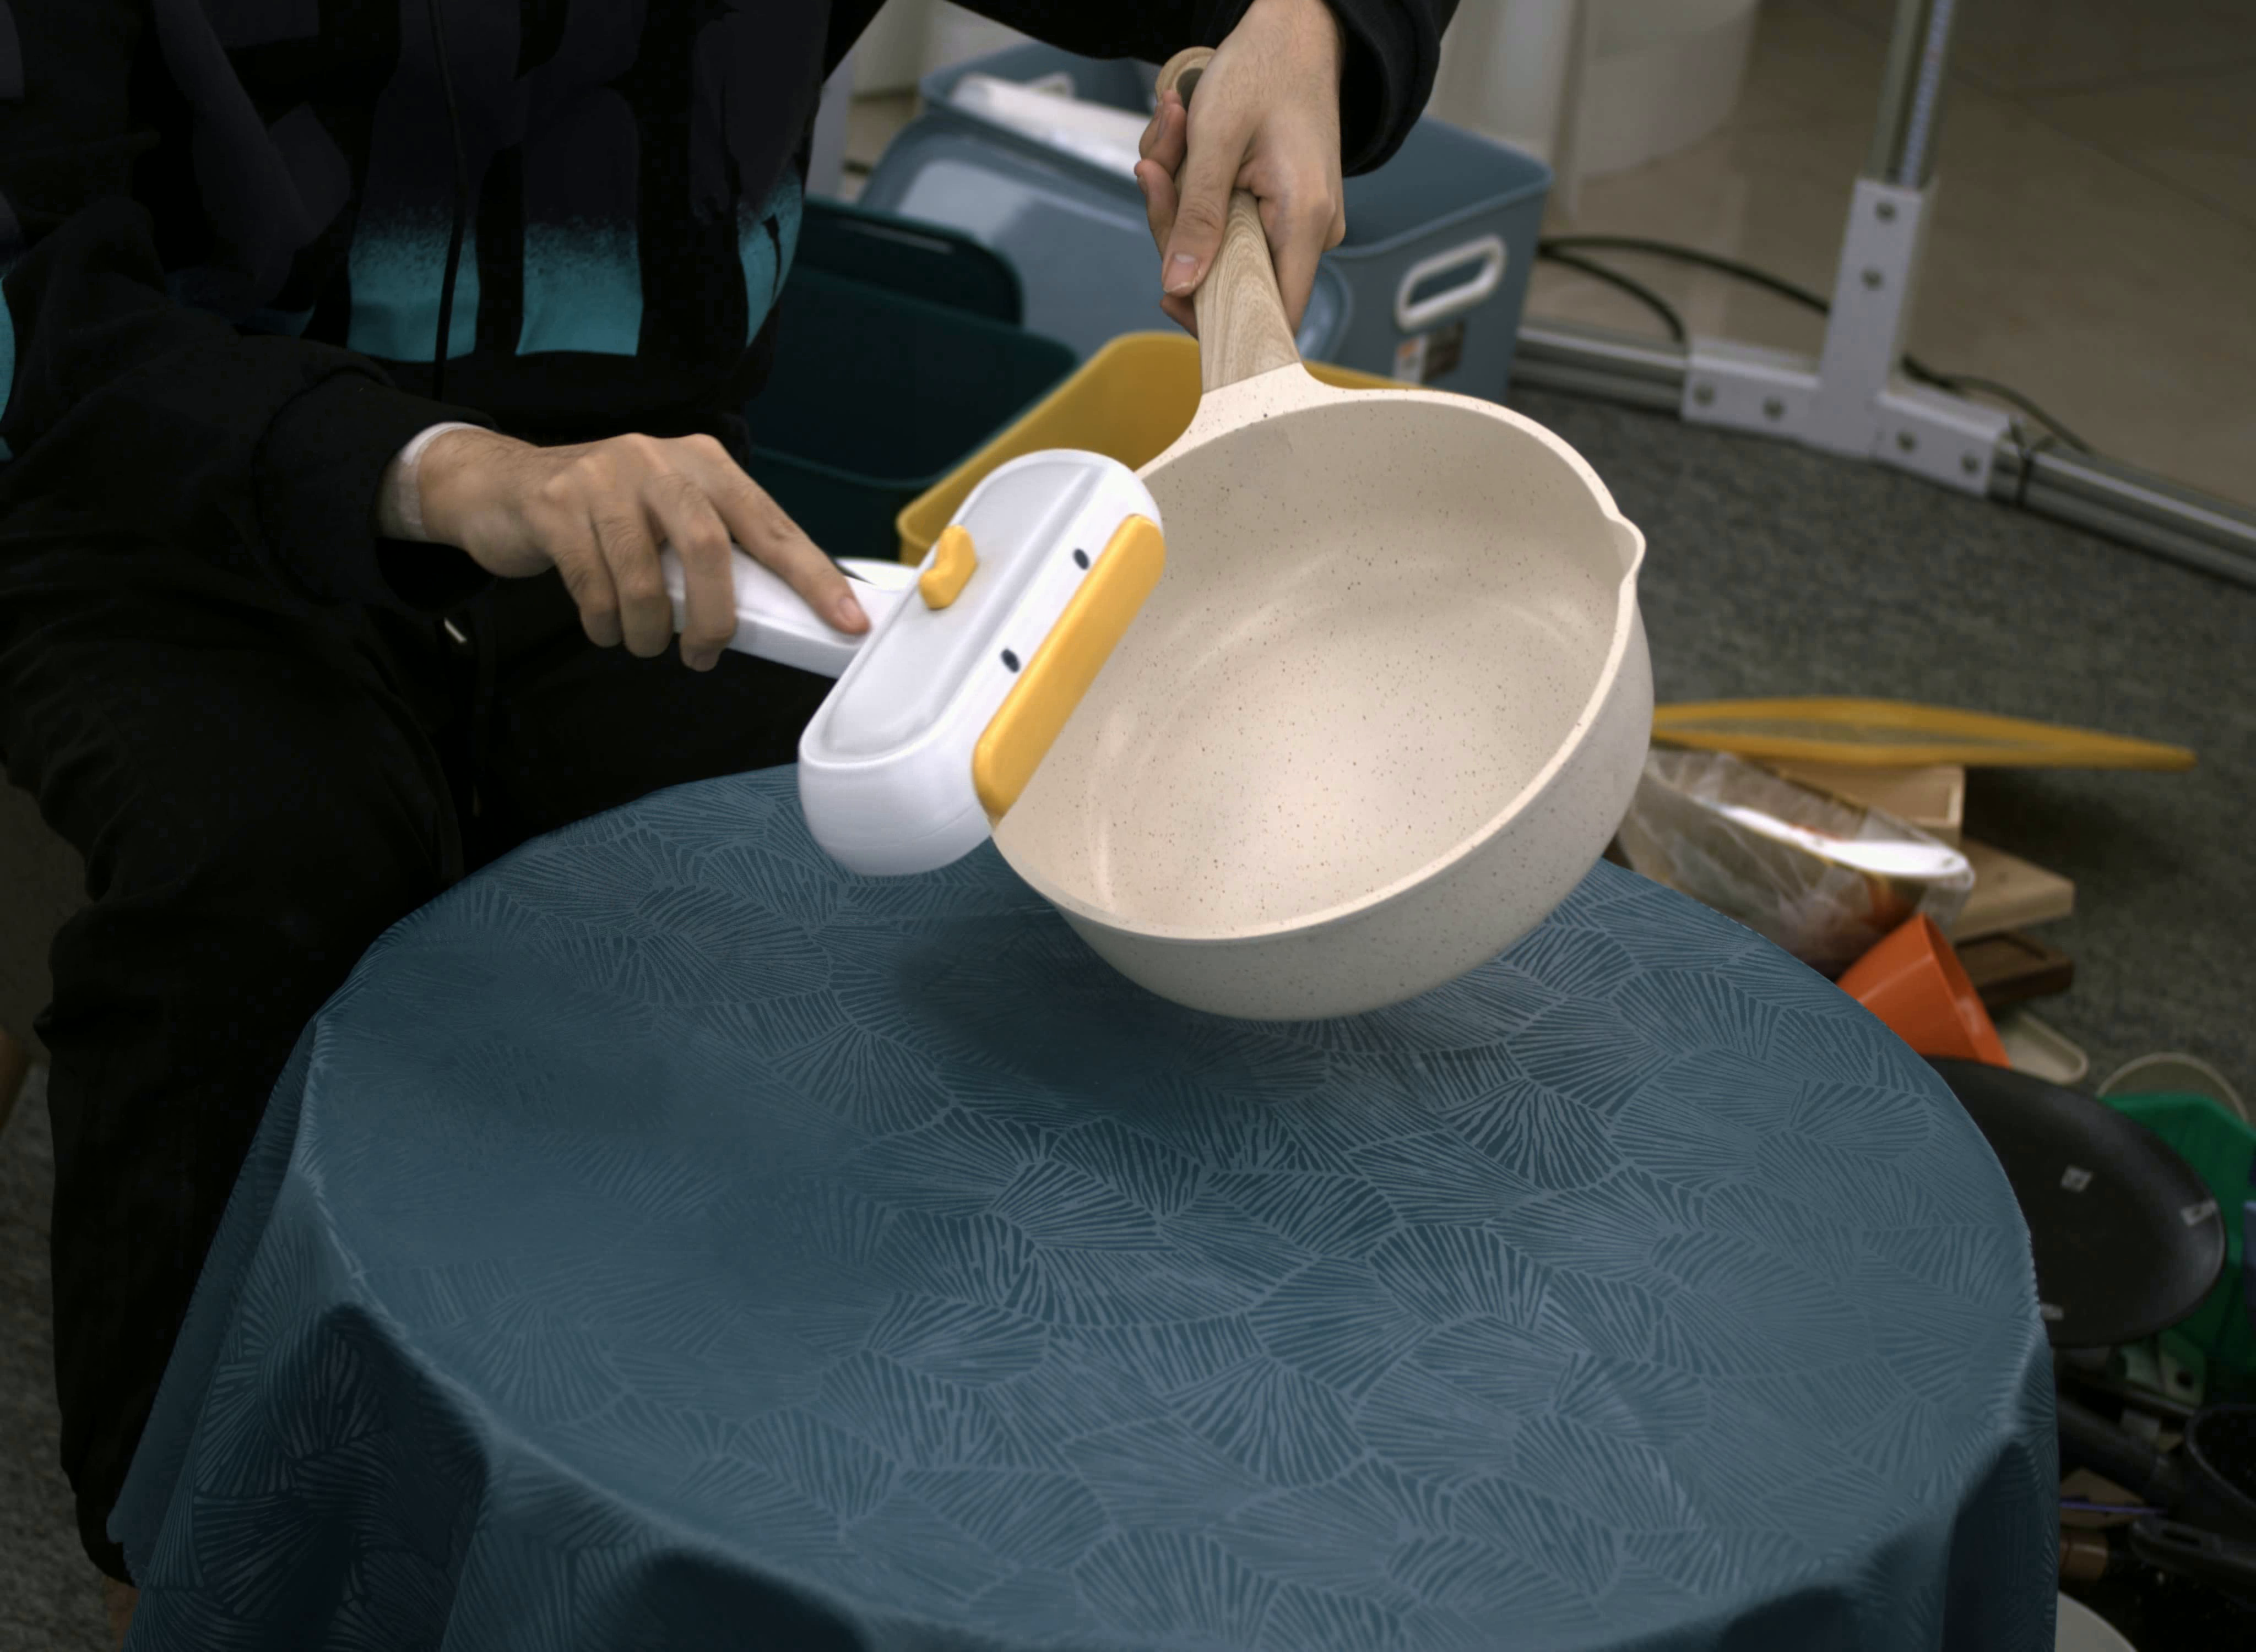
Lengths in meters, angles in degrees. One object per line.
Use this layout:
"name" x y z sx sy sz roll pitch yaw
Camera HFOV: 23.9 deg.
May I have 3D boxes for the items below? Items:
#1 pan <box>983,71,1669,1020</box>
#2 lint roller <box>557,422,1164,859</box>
"pan" 0.064 -0.108 1.965 0.263 0.101 0.439 -20 45 12
"lint roller" -0.102 -0.072 1.815 0.193 0.073 0.194 3 46 24
